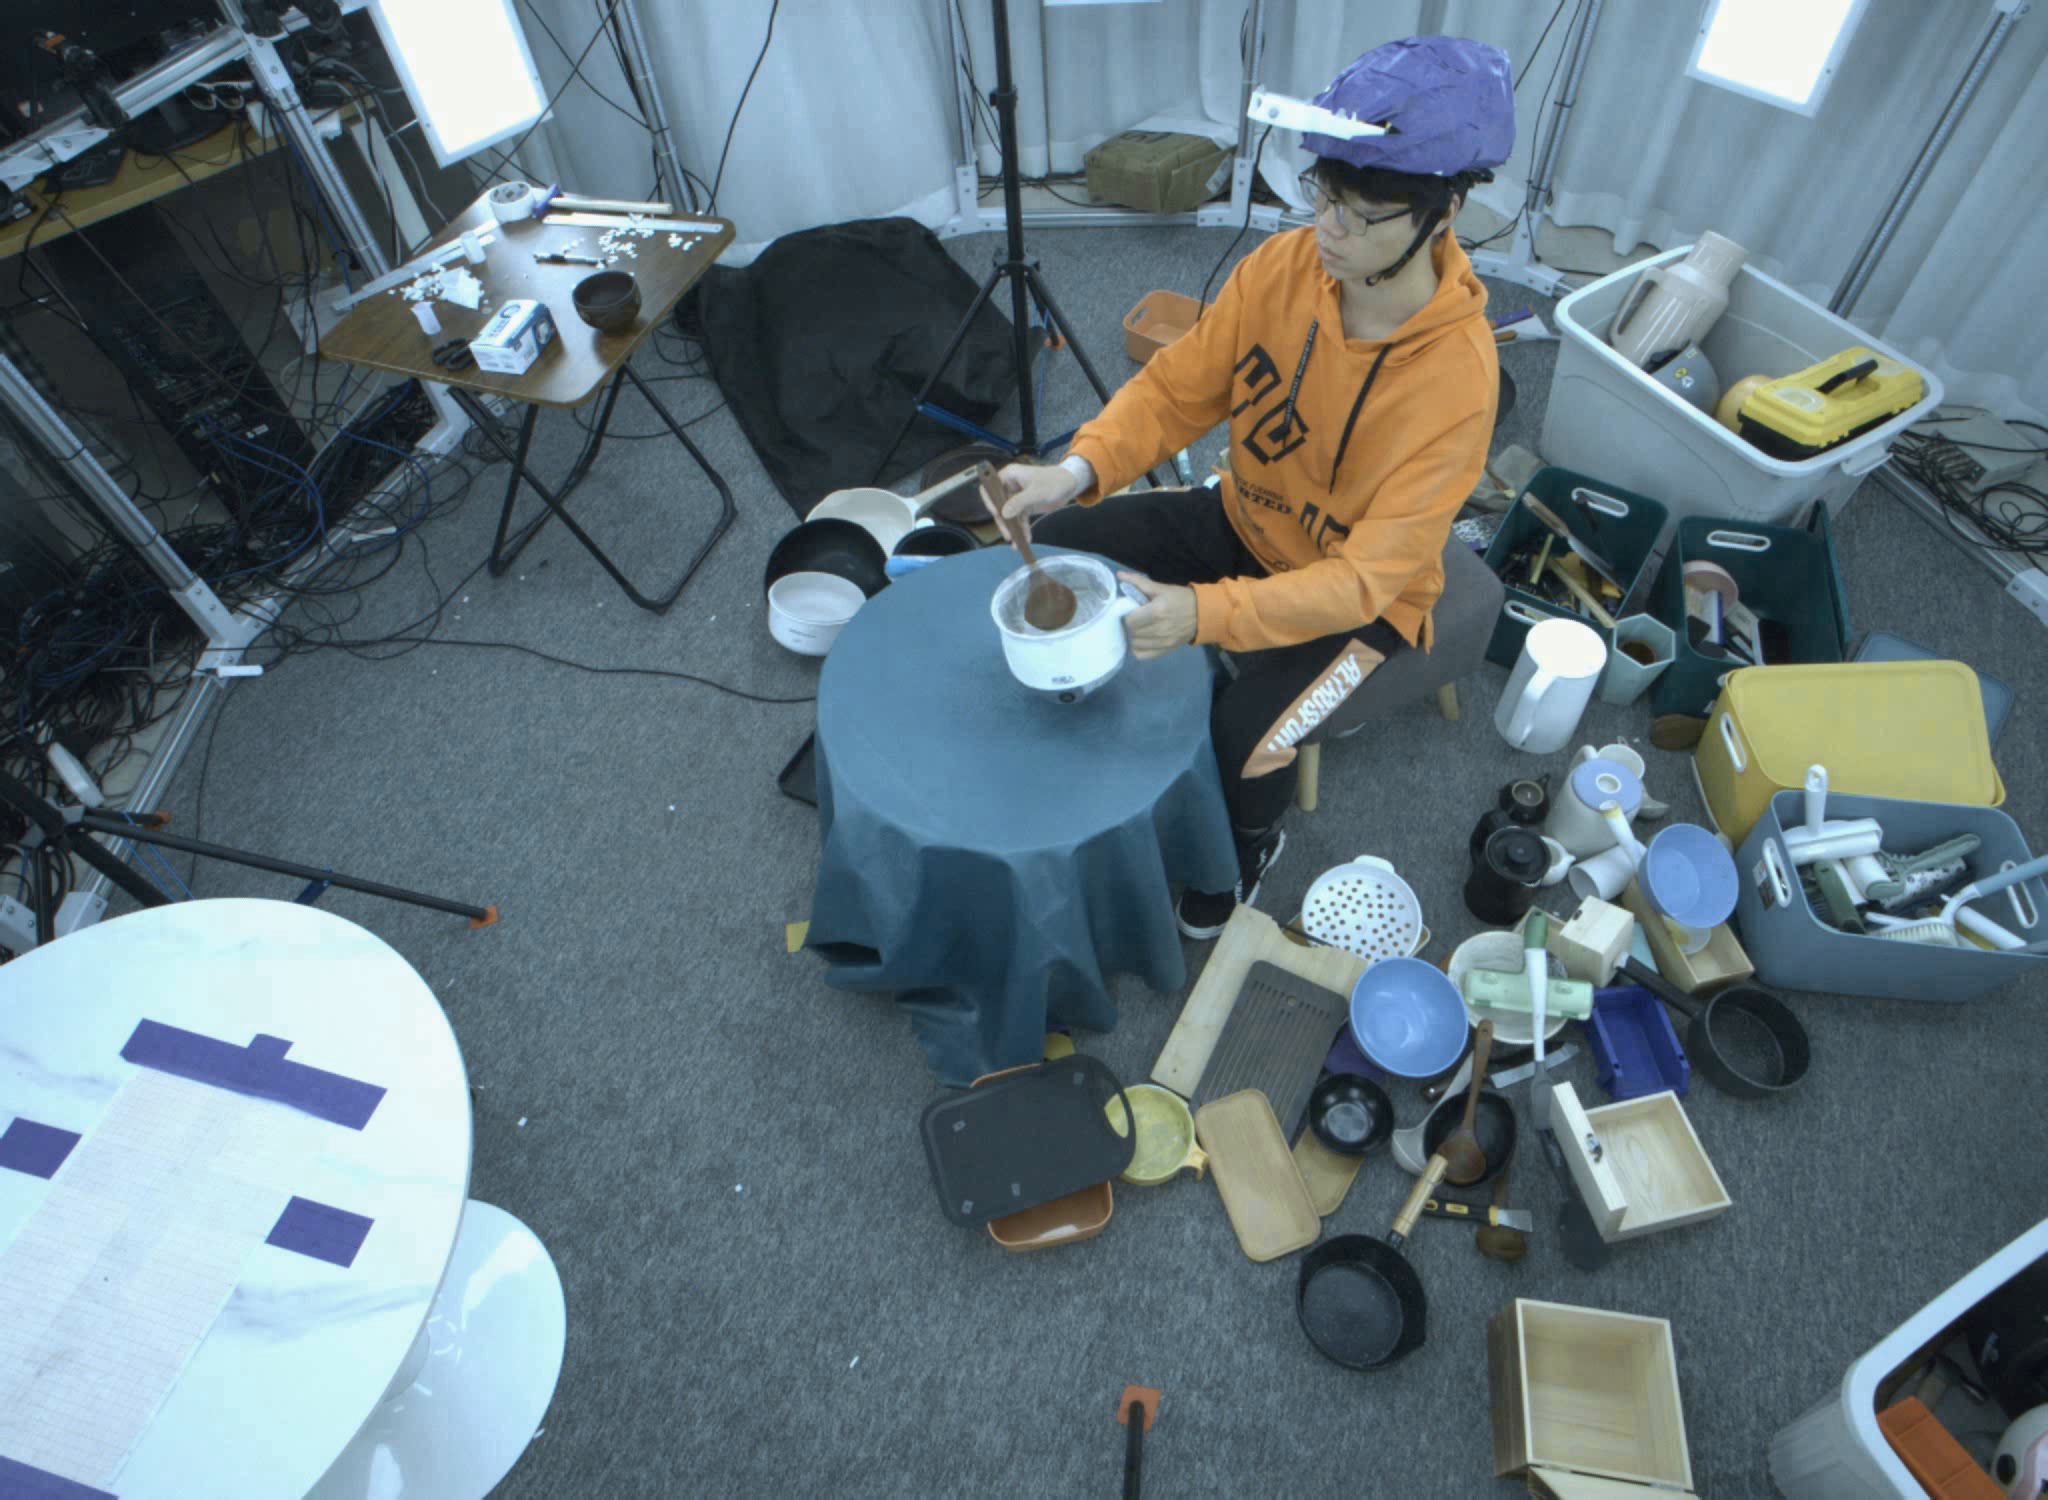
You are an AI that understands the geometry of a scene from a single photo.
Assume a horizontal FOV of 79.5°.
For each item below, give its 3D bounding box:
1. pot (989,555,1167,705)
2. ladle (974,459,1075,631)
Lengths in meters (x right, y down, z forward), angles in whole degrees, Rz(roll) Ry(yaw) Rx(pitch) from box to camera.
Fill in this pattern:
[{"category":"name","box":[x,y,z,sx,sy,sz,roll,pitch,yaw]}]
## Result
[{"category":"pot","box":[0.079,-0.174,1.736,0.232,0.139,0.177,-8,47,10]},{"category":"ladle","box":[-0.008,-0.287,1.692,0.077,0.064,0.261,-25,97,-4]}]
